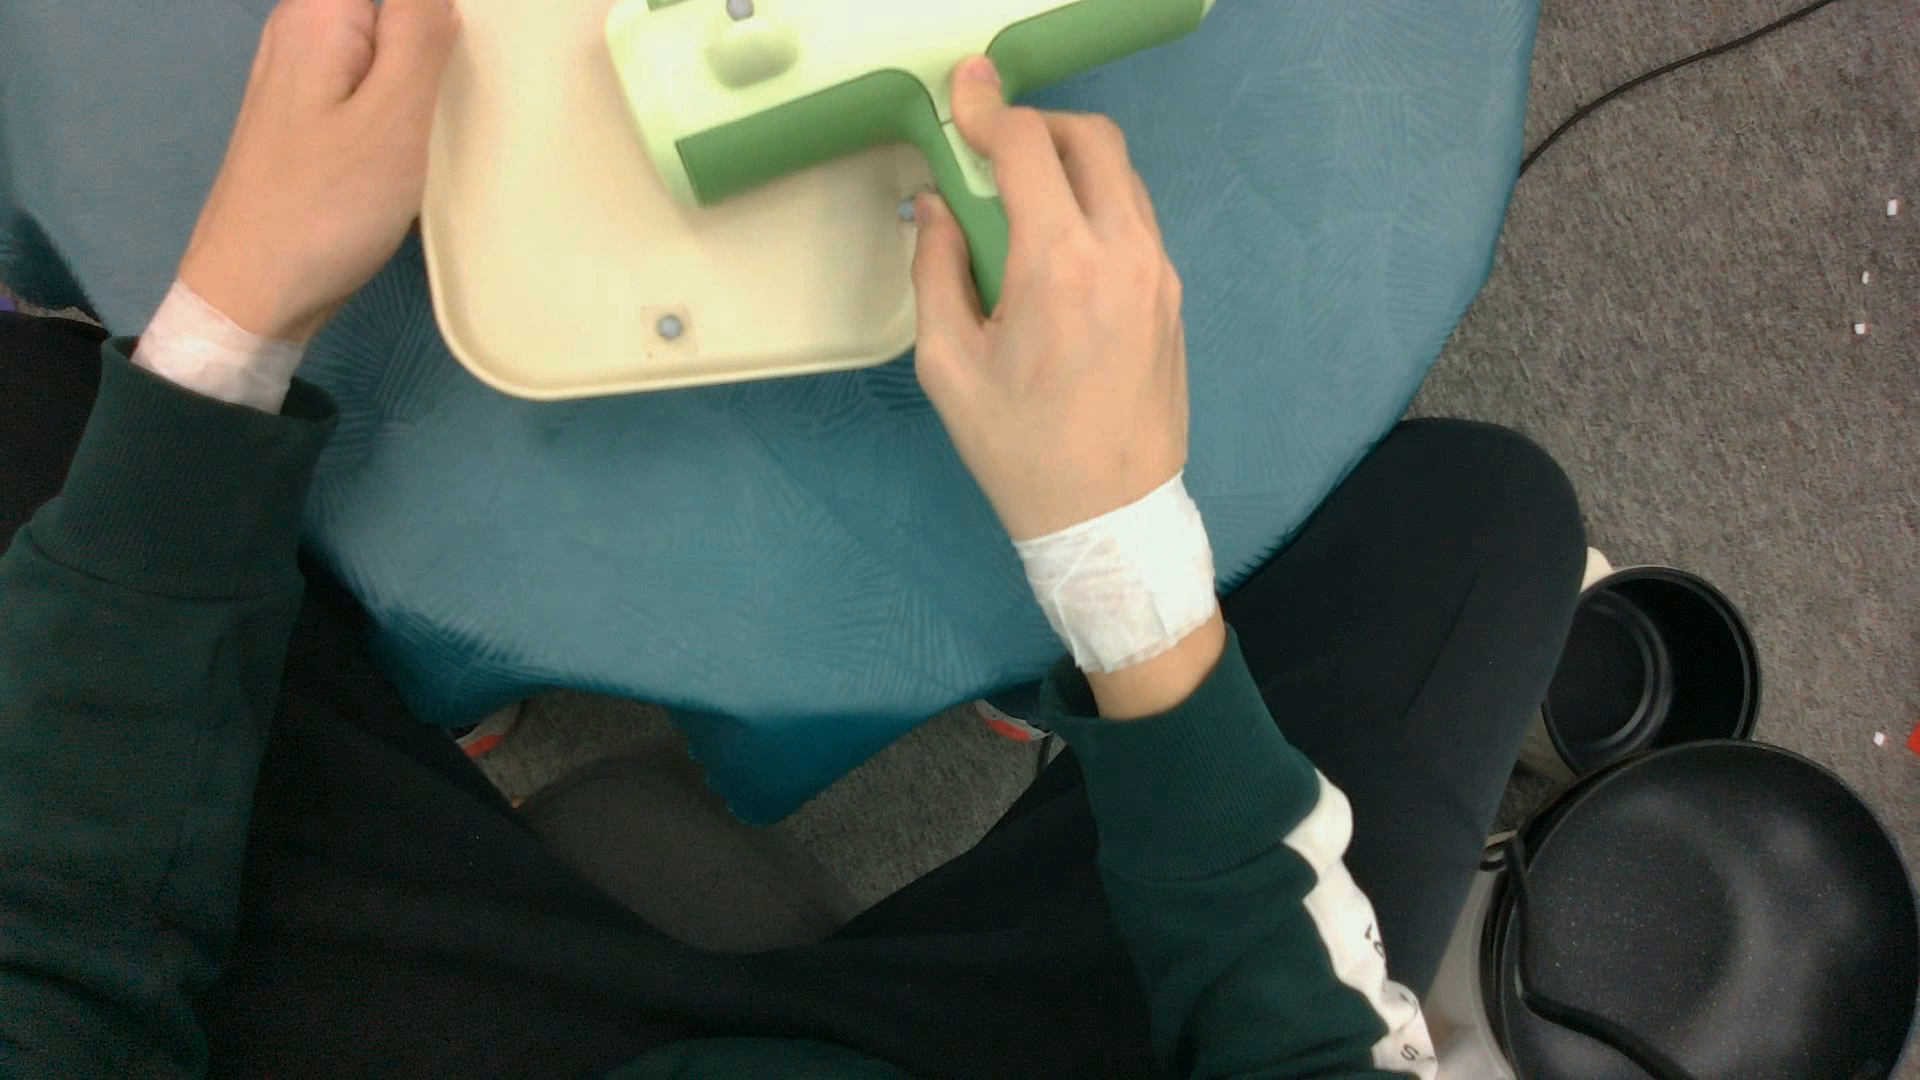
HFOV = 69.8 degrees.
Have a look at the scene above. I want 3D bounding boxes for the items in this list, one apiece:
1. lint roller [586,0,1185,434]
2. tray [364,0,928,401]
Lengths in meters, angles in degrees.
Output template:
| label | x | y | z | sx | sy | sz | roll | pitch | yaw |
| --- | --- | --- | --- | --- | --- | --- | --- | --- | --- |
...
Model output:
| label | x | y | z | sx | sy | sz | roll | pitch | yaw |
| --- | --- | --- | --- | --- | --- | --- | --- | --- | --- |
| lint roller | 0.002 | -0.124 | 0.436 | 0.199 | 0.082 | 0.183 | -22 | 78 | -7 |
| tray | -0.107 | -0.173 | 0.462 | 0.171 | 0.017 | 0.239 | -10 | 98 | -14 |
